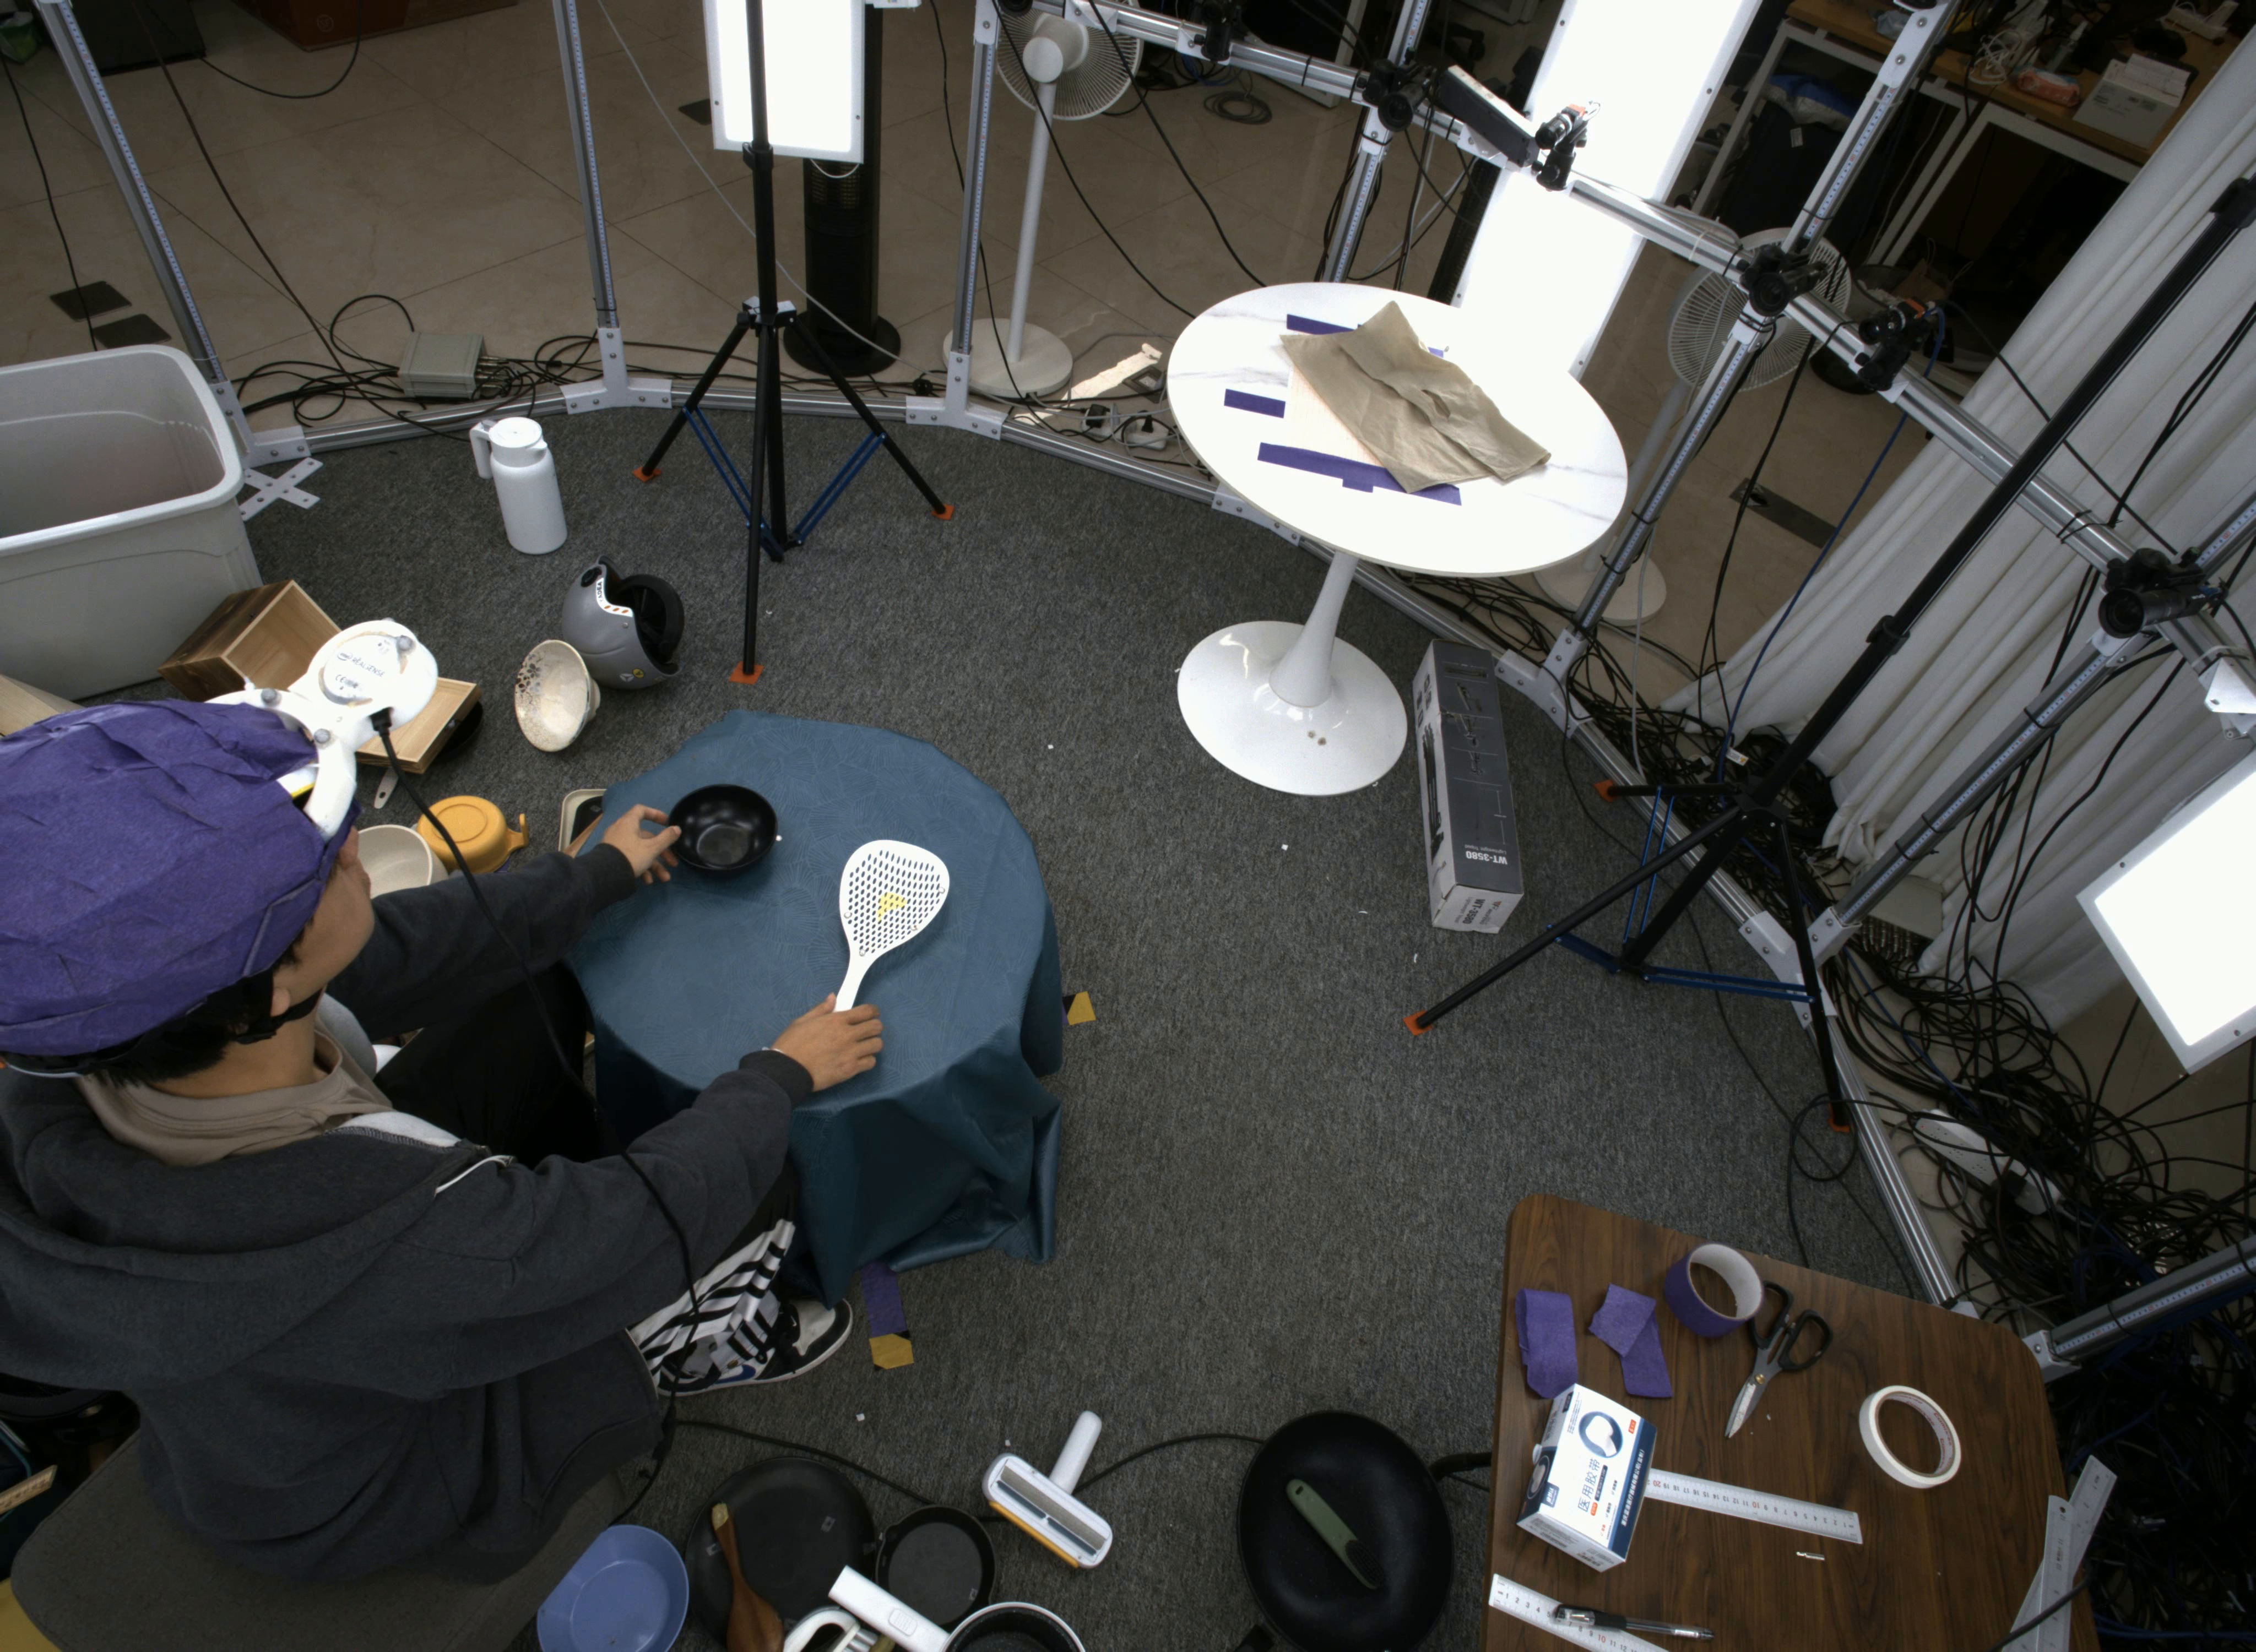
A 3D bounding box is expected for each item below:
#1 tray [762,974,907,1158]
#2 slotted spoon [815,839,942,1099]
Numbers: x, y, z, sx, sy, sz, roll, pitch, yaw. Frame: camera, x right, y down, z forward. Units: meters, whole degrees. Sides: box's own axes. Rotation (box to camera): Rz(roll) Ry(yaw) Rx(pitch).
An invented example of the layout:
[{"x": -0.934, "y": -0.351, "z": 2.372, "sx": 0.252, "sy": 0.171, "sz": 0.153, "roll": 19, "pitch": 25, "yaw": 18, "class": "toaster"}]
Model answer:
[{"x": -0.486, "y": 0.385, "z": 2.135, "sx": 0.192, "sy": 0.028, "sz": 0.293, "roll": -8, "pitch": 56, "yaw": -20, "class": "tray"}, {"x": -0.331, "y": 0.167, "z": 1.603, "sx": 0.136, "sy": 0.051, "sz": 0.343, "roll": 18, "pitch": 52, "yaw": -5, "class": "slotted spoon"}]
